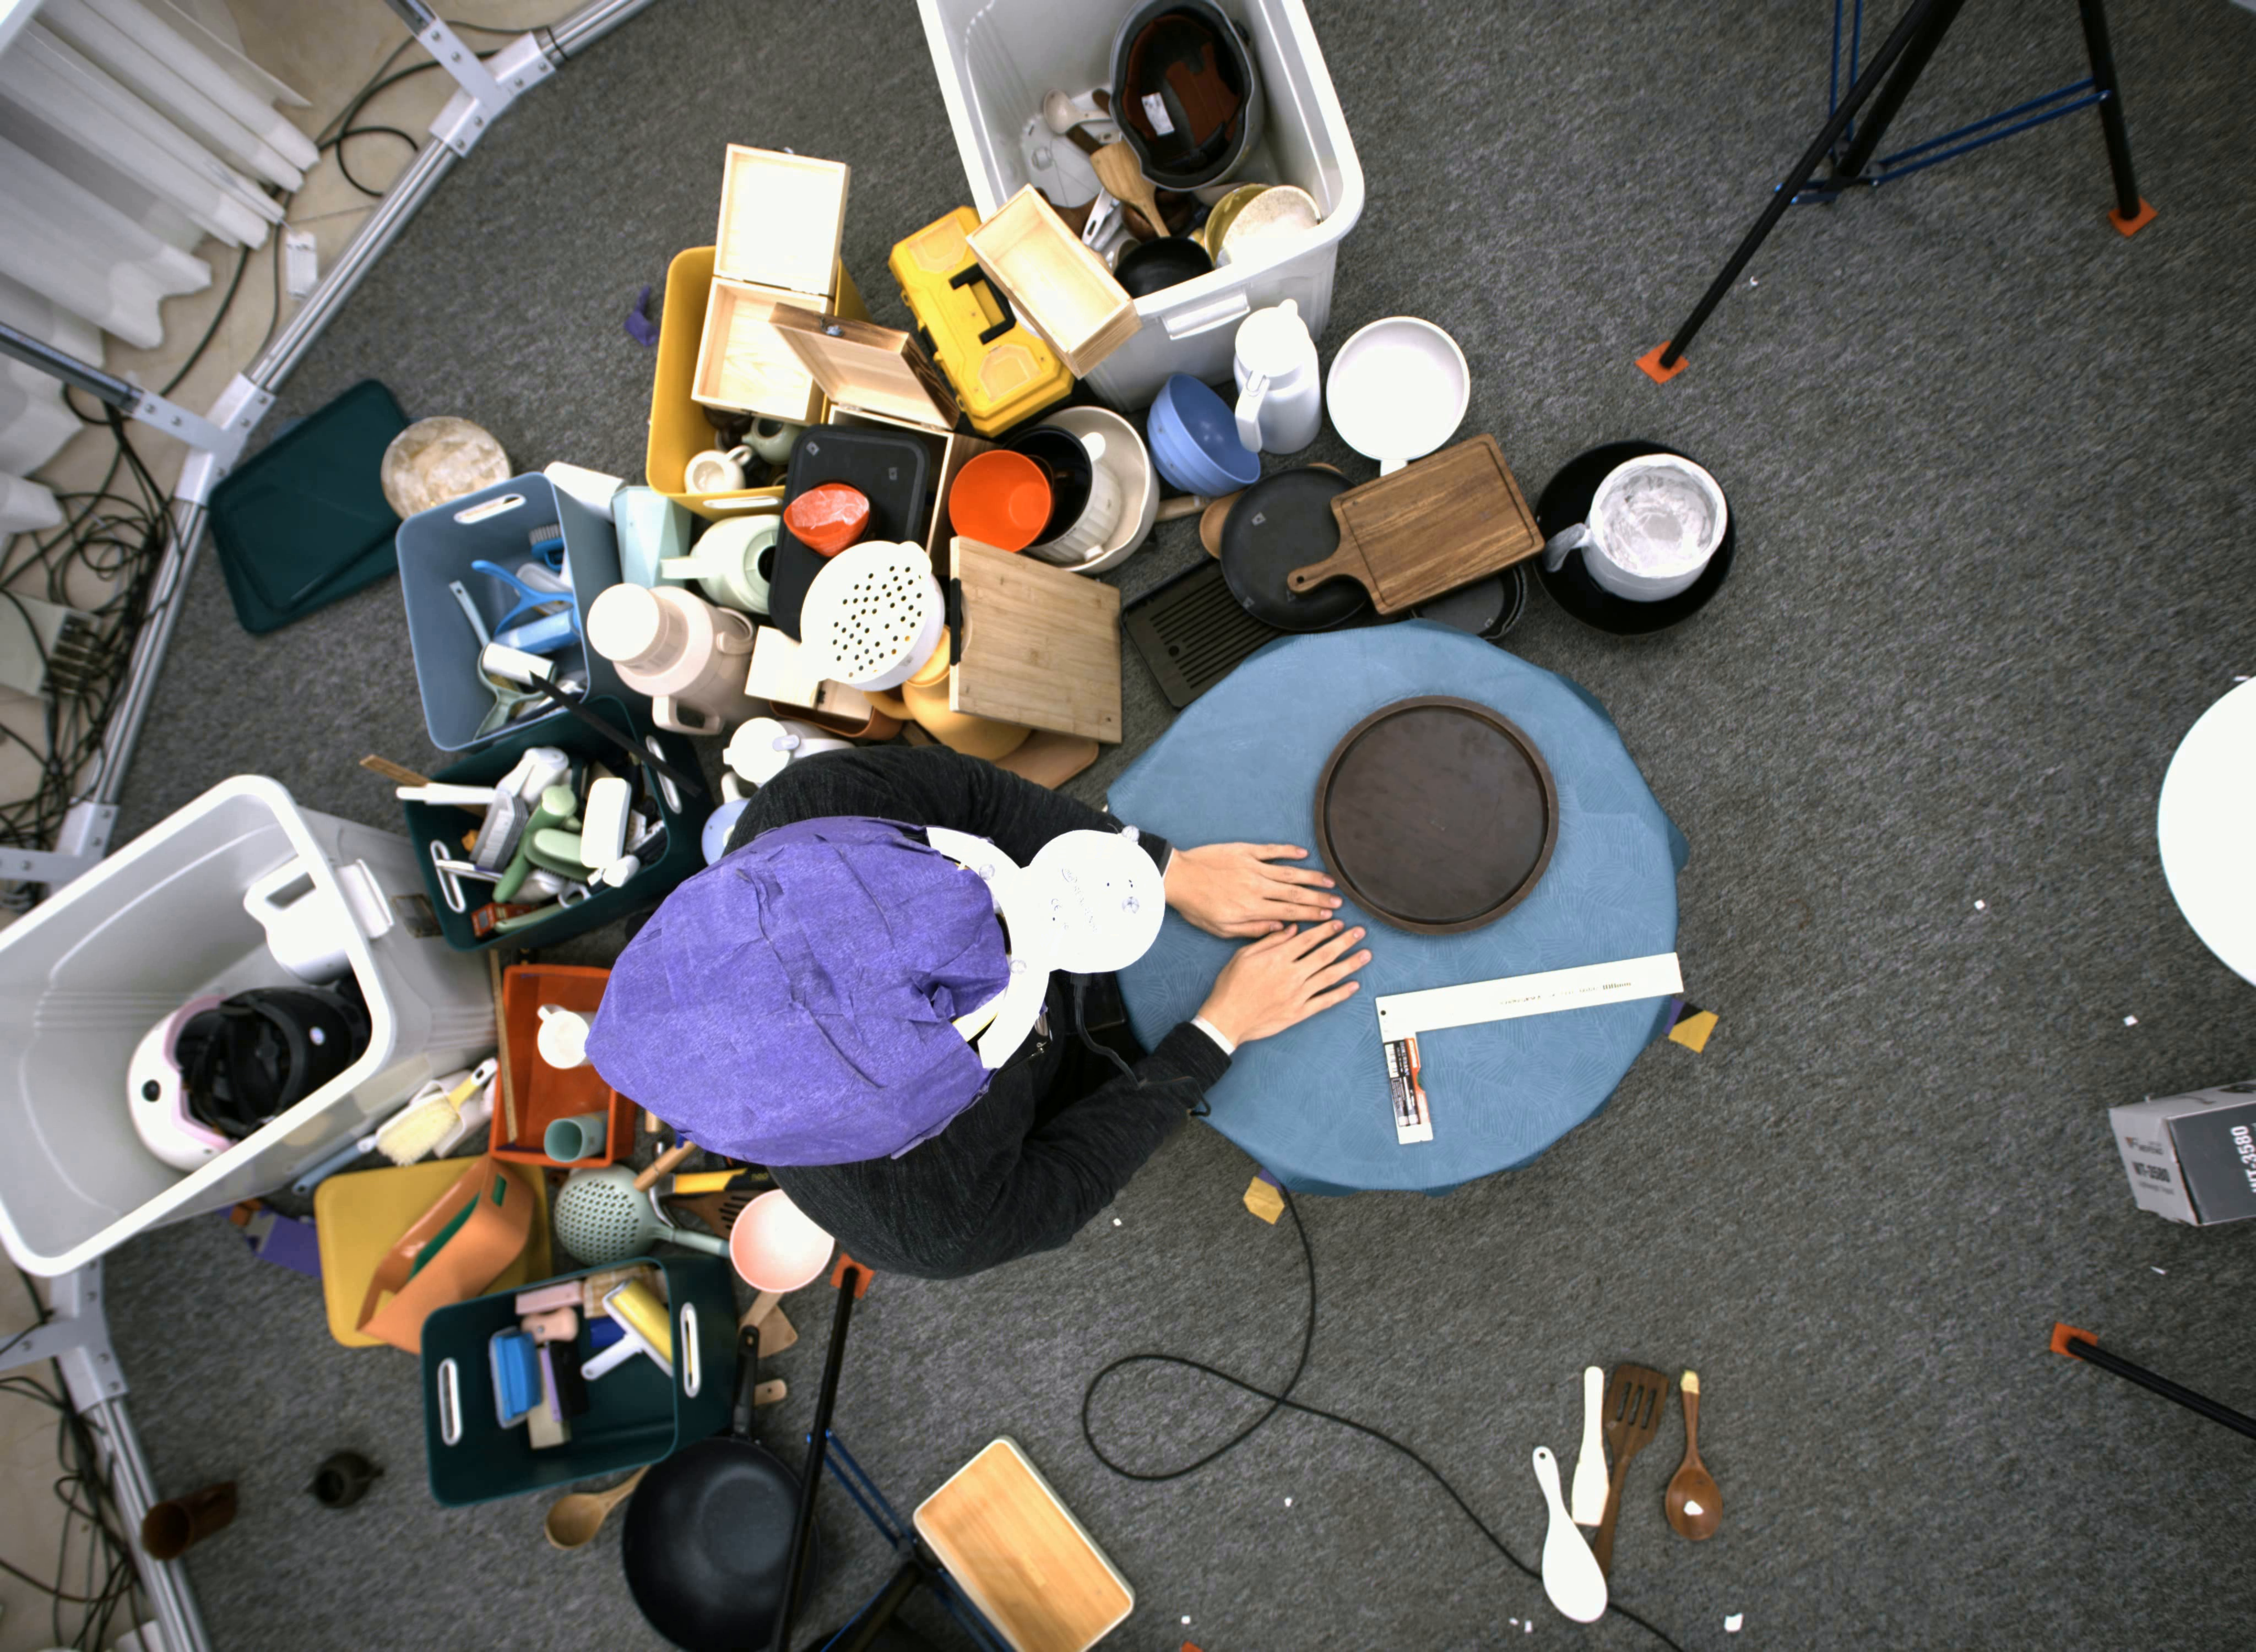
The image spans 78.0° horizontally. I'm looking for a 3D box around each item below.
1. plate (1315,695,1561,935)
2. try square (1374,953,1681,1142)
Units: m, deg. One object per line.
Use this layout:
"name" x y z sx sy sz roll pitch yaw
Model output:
"plate" 0.322 -0.013 1.443 0.256 0.029 0.253 -1 86 9
"try square" 0.418 0.226 1.420 0.314 0.016 0.151 -10 86 9
